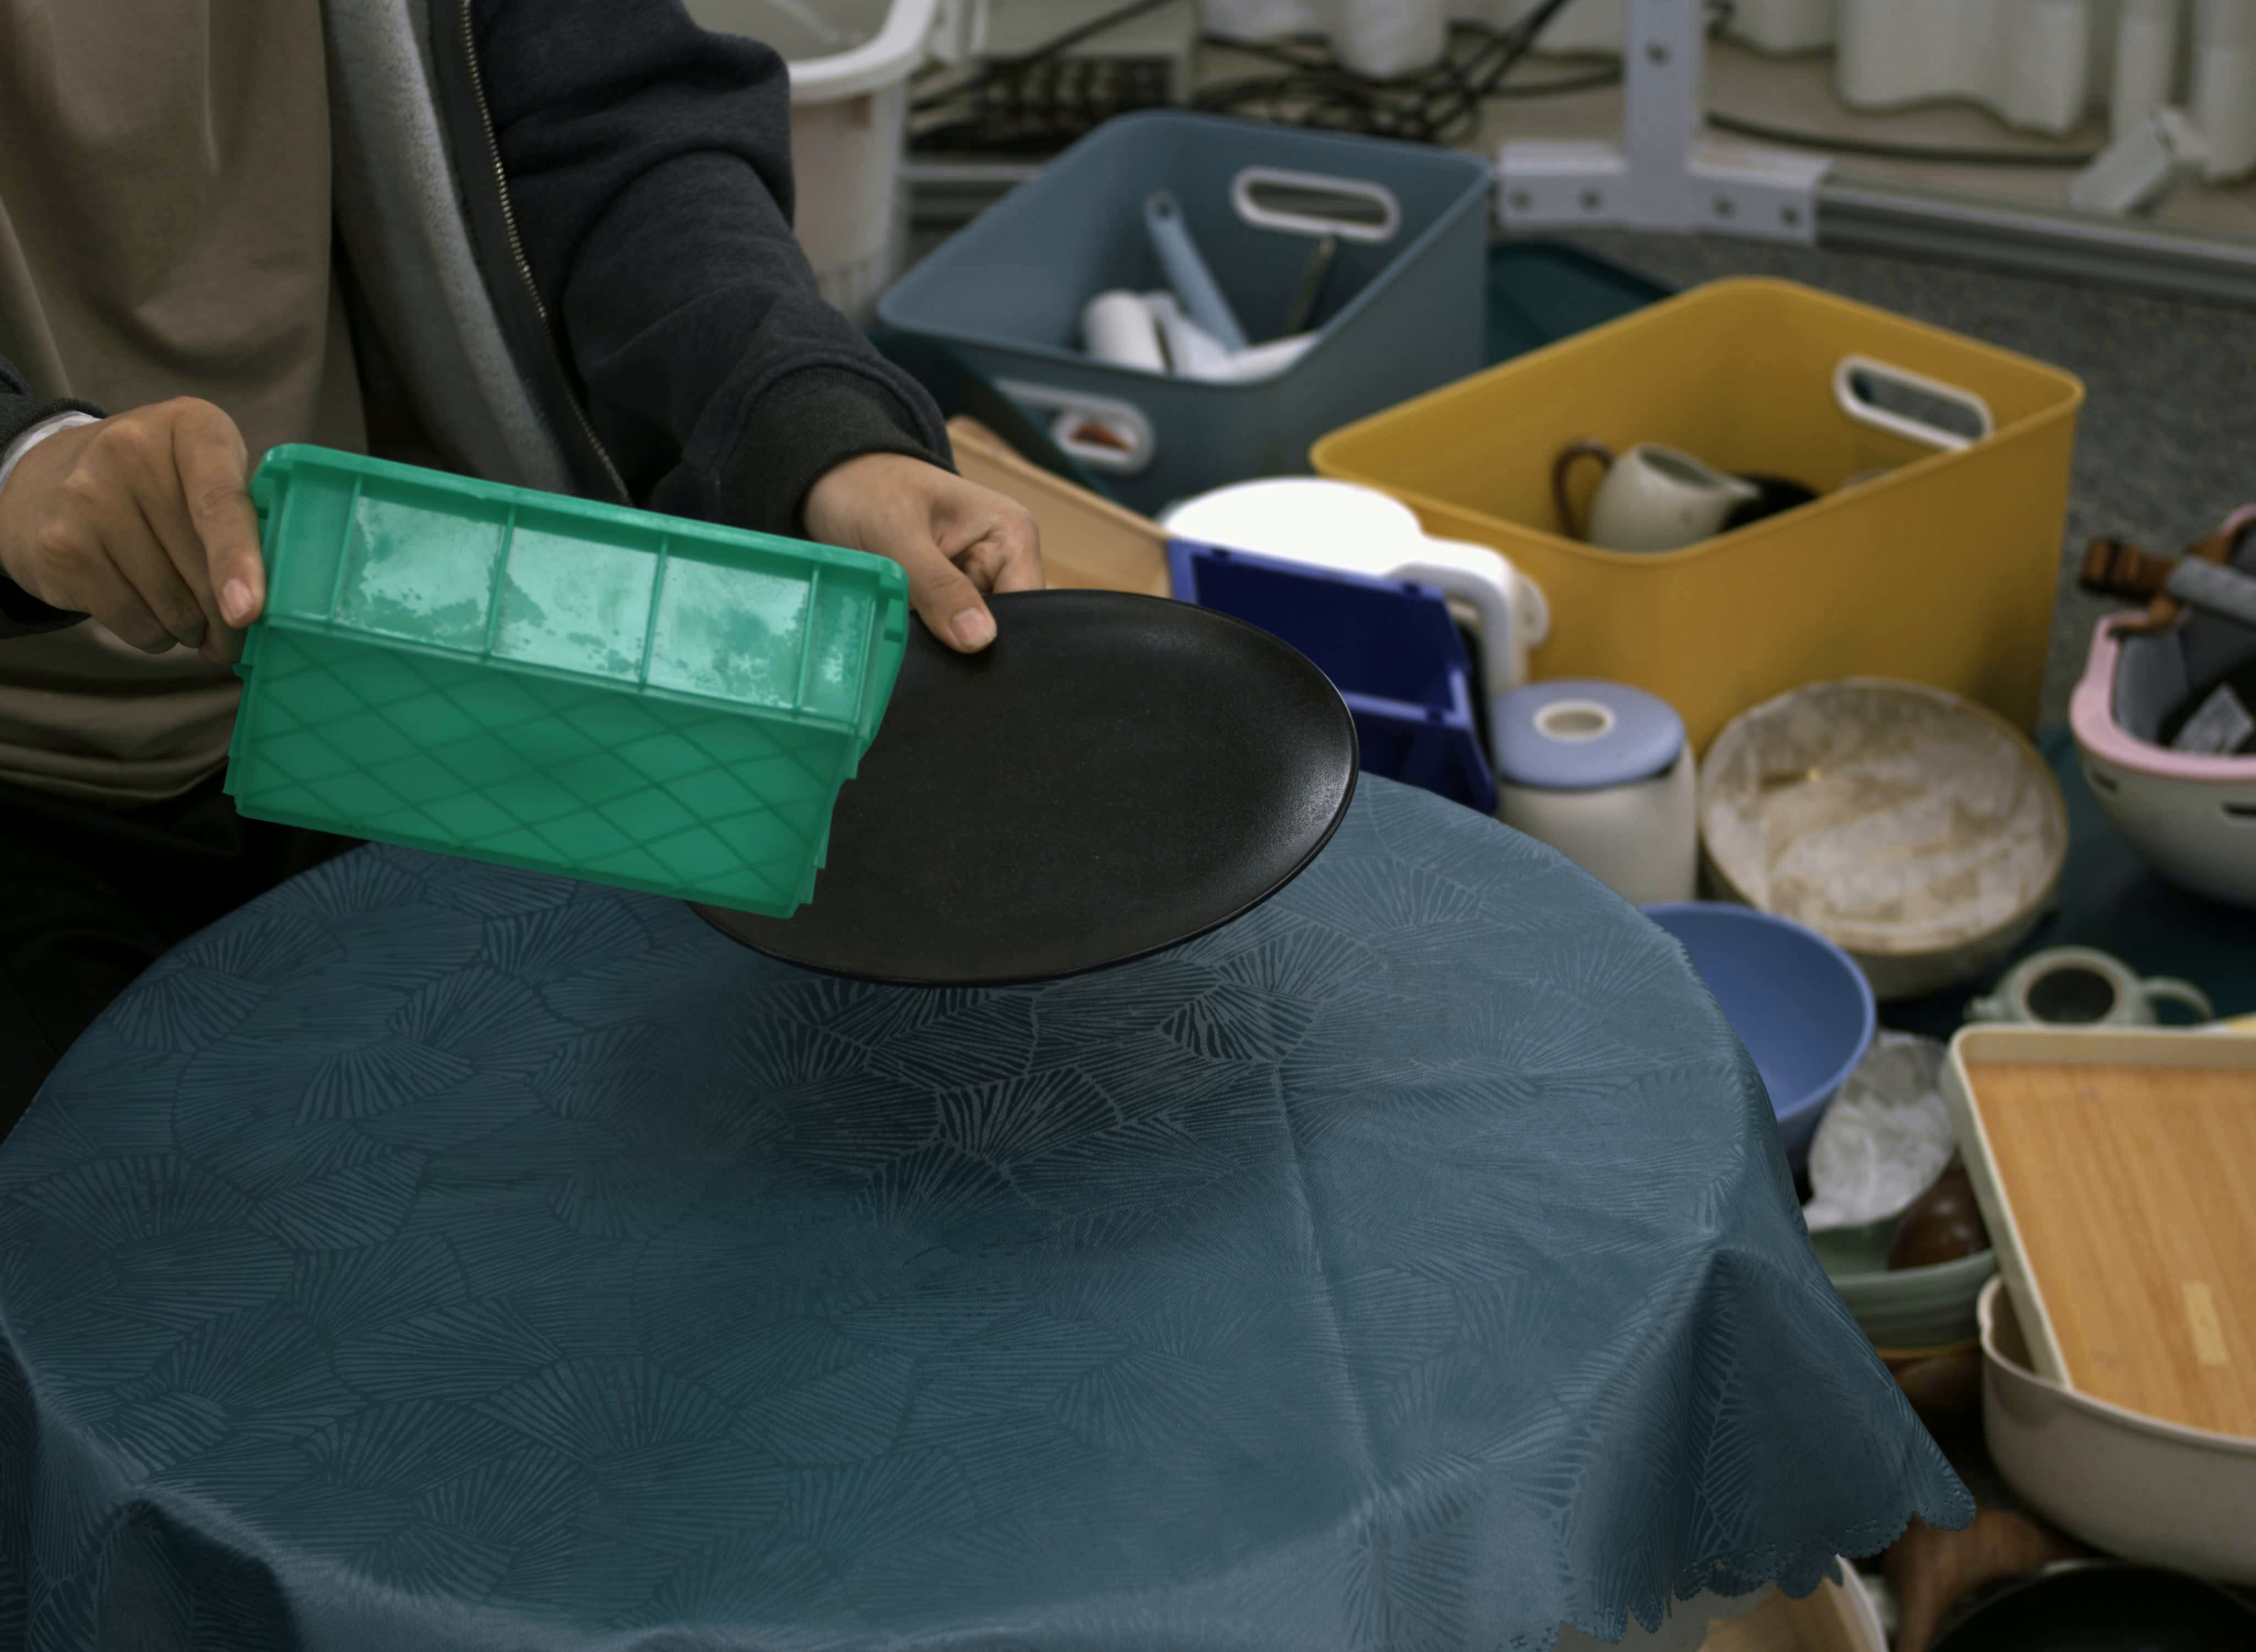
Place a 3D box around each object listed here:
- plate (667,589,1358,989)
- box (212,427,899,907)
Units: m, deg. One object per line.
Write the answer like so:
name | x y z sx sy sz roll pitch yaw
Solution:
plate | -0.041 -0.009 1.929 0.243 0.023 0.249 -5 33 3
box | -0.181 -0.043 1.743 0.210 0.136 0.066 10 55 -10
